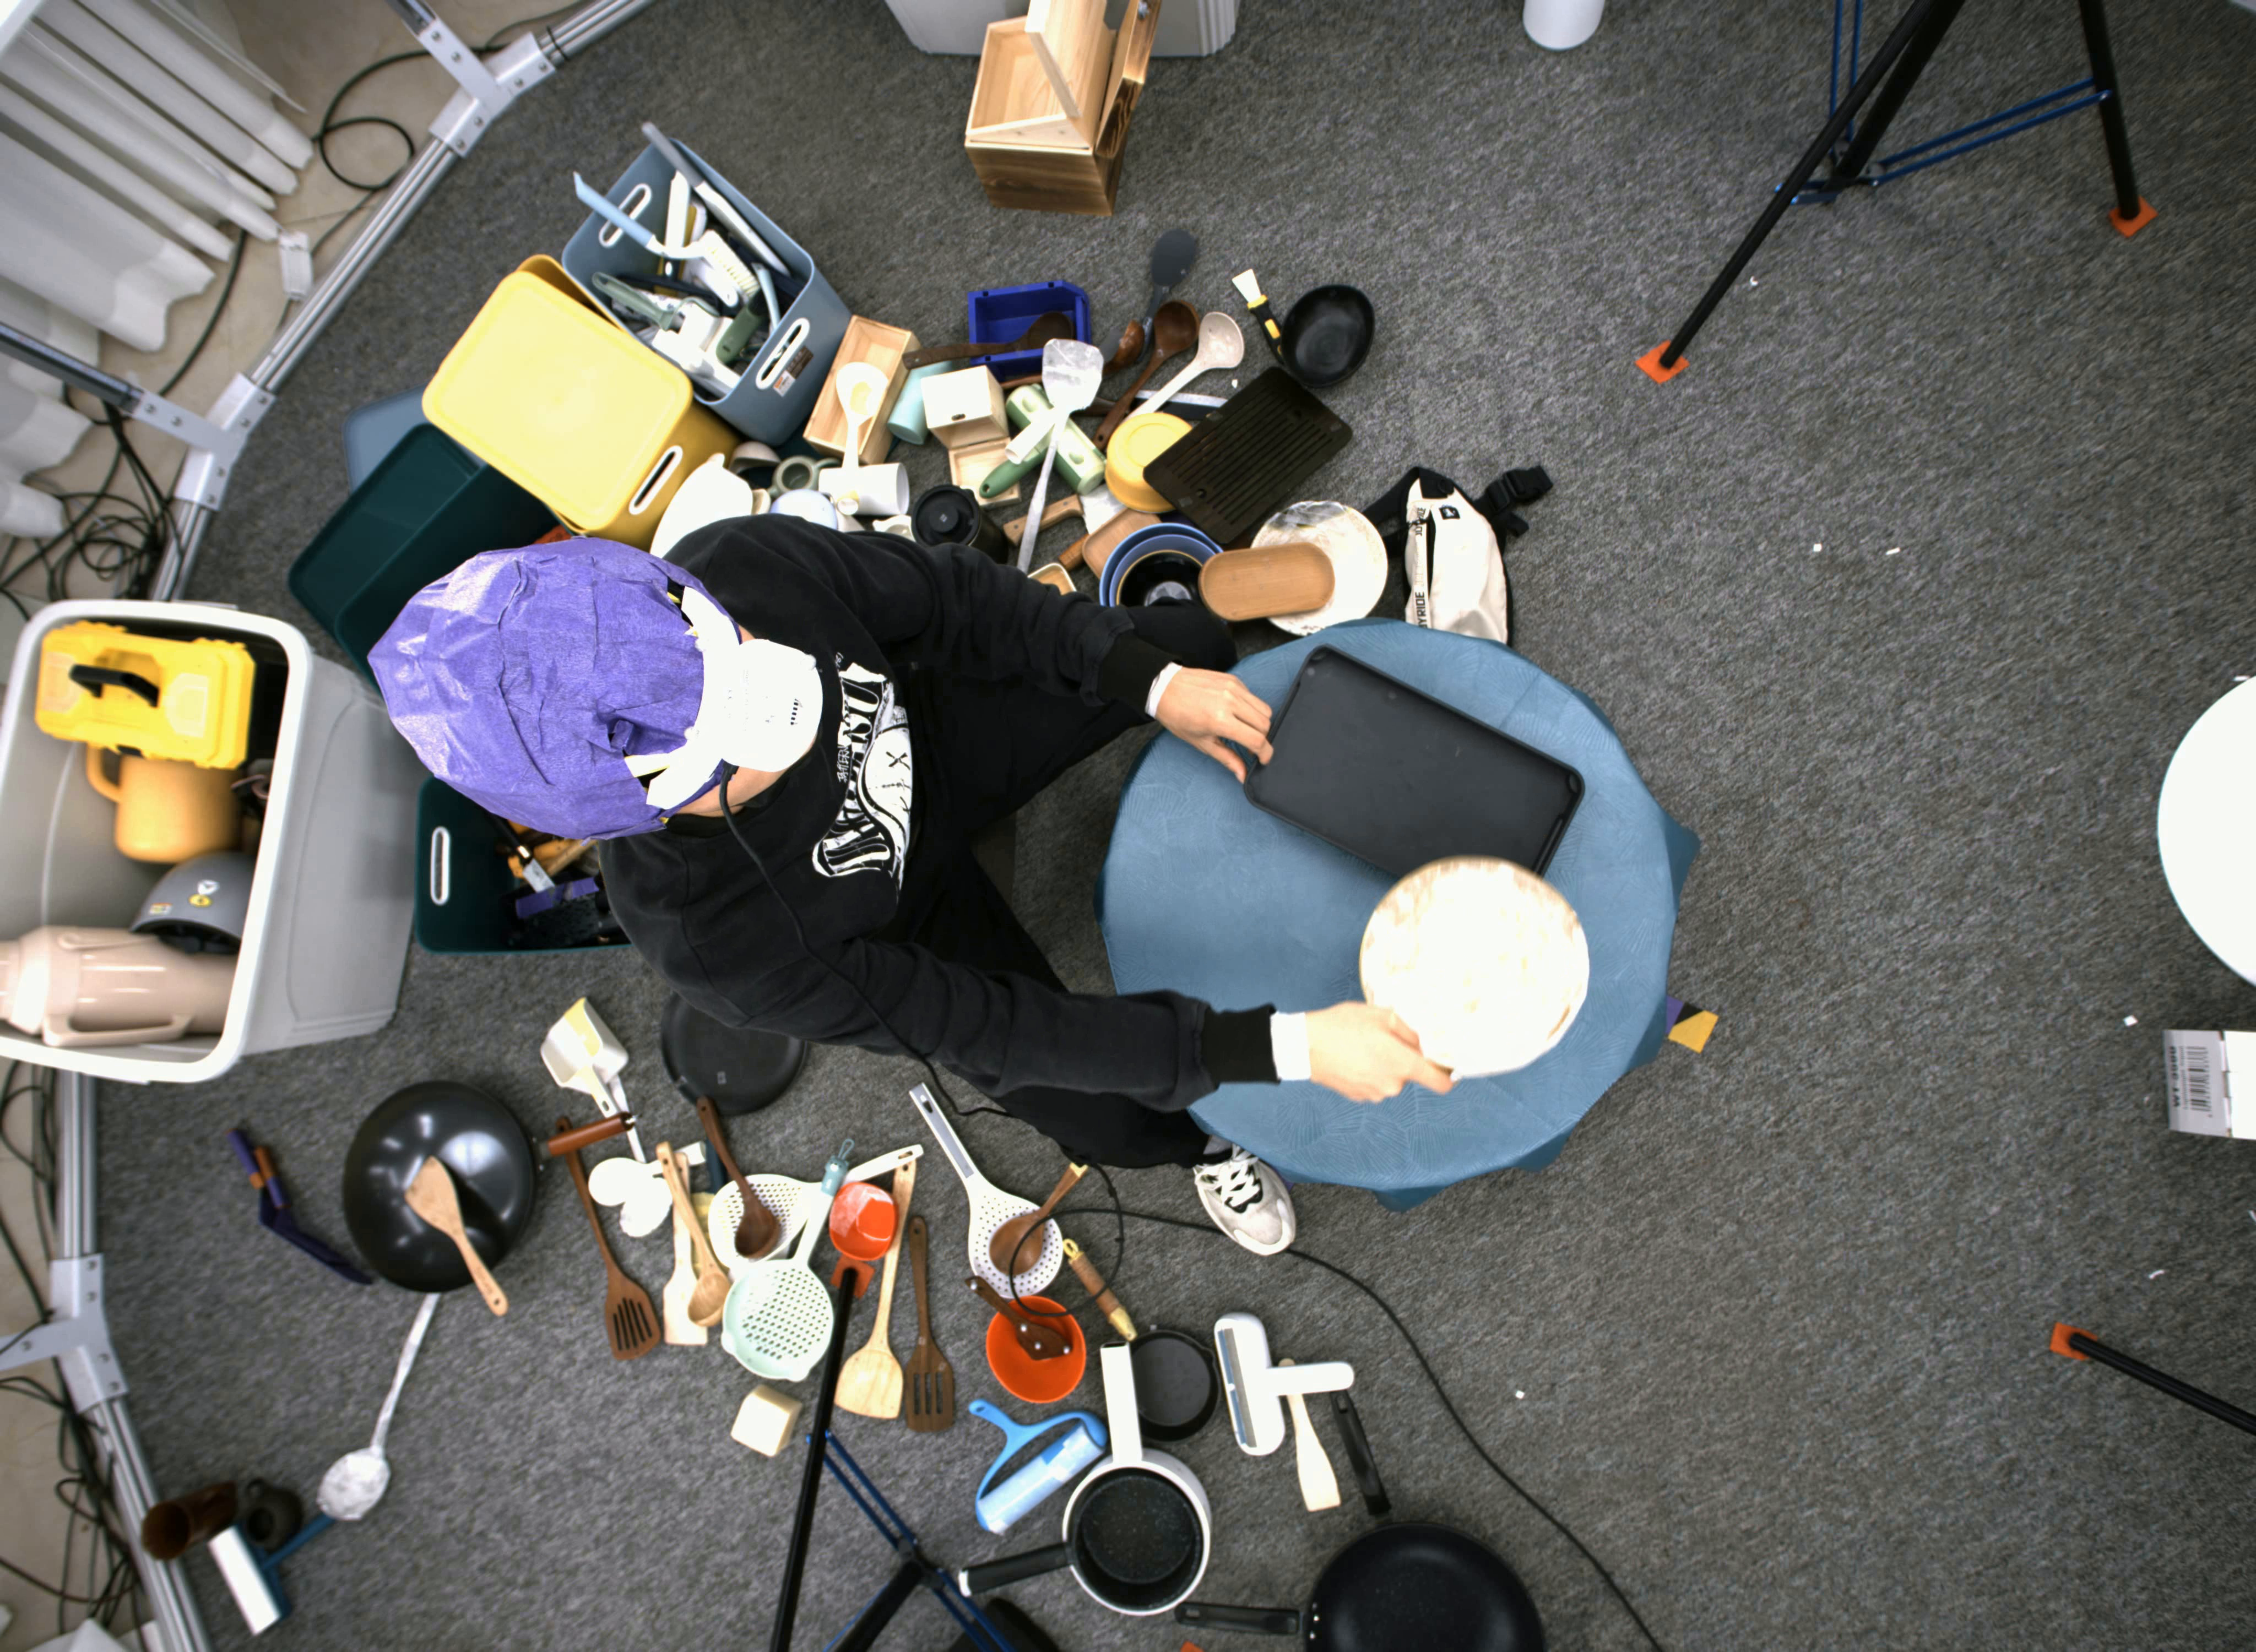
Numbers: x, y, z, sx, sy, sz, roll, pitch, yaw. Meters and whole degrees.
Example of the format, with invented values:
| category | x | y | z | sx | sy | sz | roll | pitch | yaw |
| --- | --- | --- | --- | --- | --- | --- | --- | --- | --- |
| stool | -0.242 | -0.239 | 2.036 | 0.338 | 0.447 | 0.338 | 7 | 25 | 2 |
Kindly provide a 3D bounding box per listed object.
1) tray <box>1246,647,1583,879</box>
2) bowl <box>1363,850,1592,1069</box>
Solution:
| category | x | y | z | sx | sy | sz | roll | pitch | yaw |
| --- | --- | --- | --- | --- | --- | --- | --- | --- | --- |
| tray | 0.295 | -0.037 | 1.425 | 0.318 | 0.037 | 0.184 | 28 | 90 | -1 |
| bowl | 0.321 | 0.126 | 1.269 | 0.216 | 0.095 | 0.210 | -7 | 68 | 17 |
